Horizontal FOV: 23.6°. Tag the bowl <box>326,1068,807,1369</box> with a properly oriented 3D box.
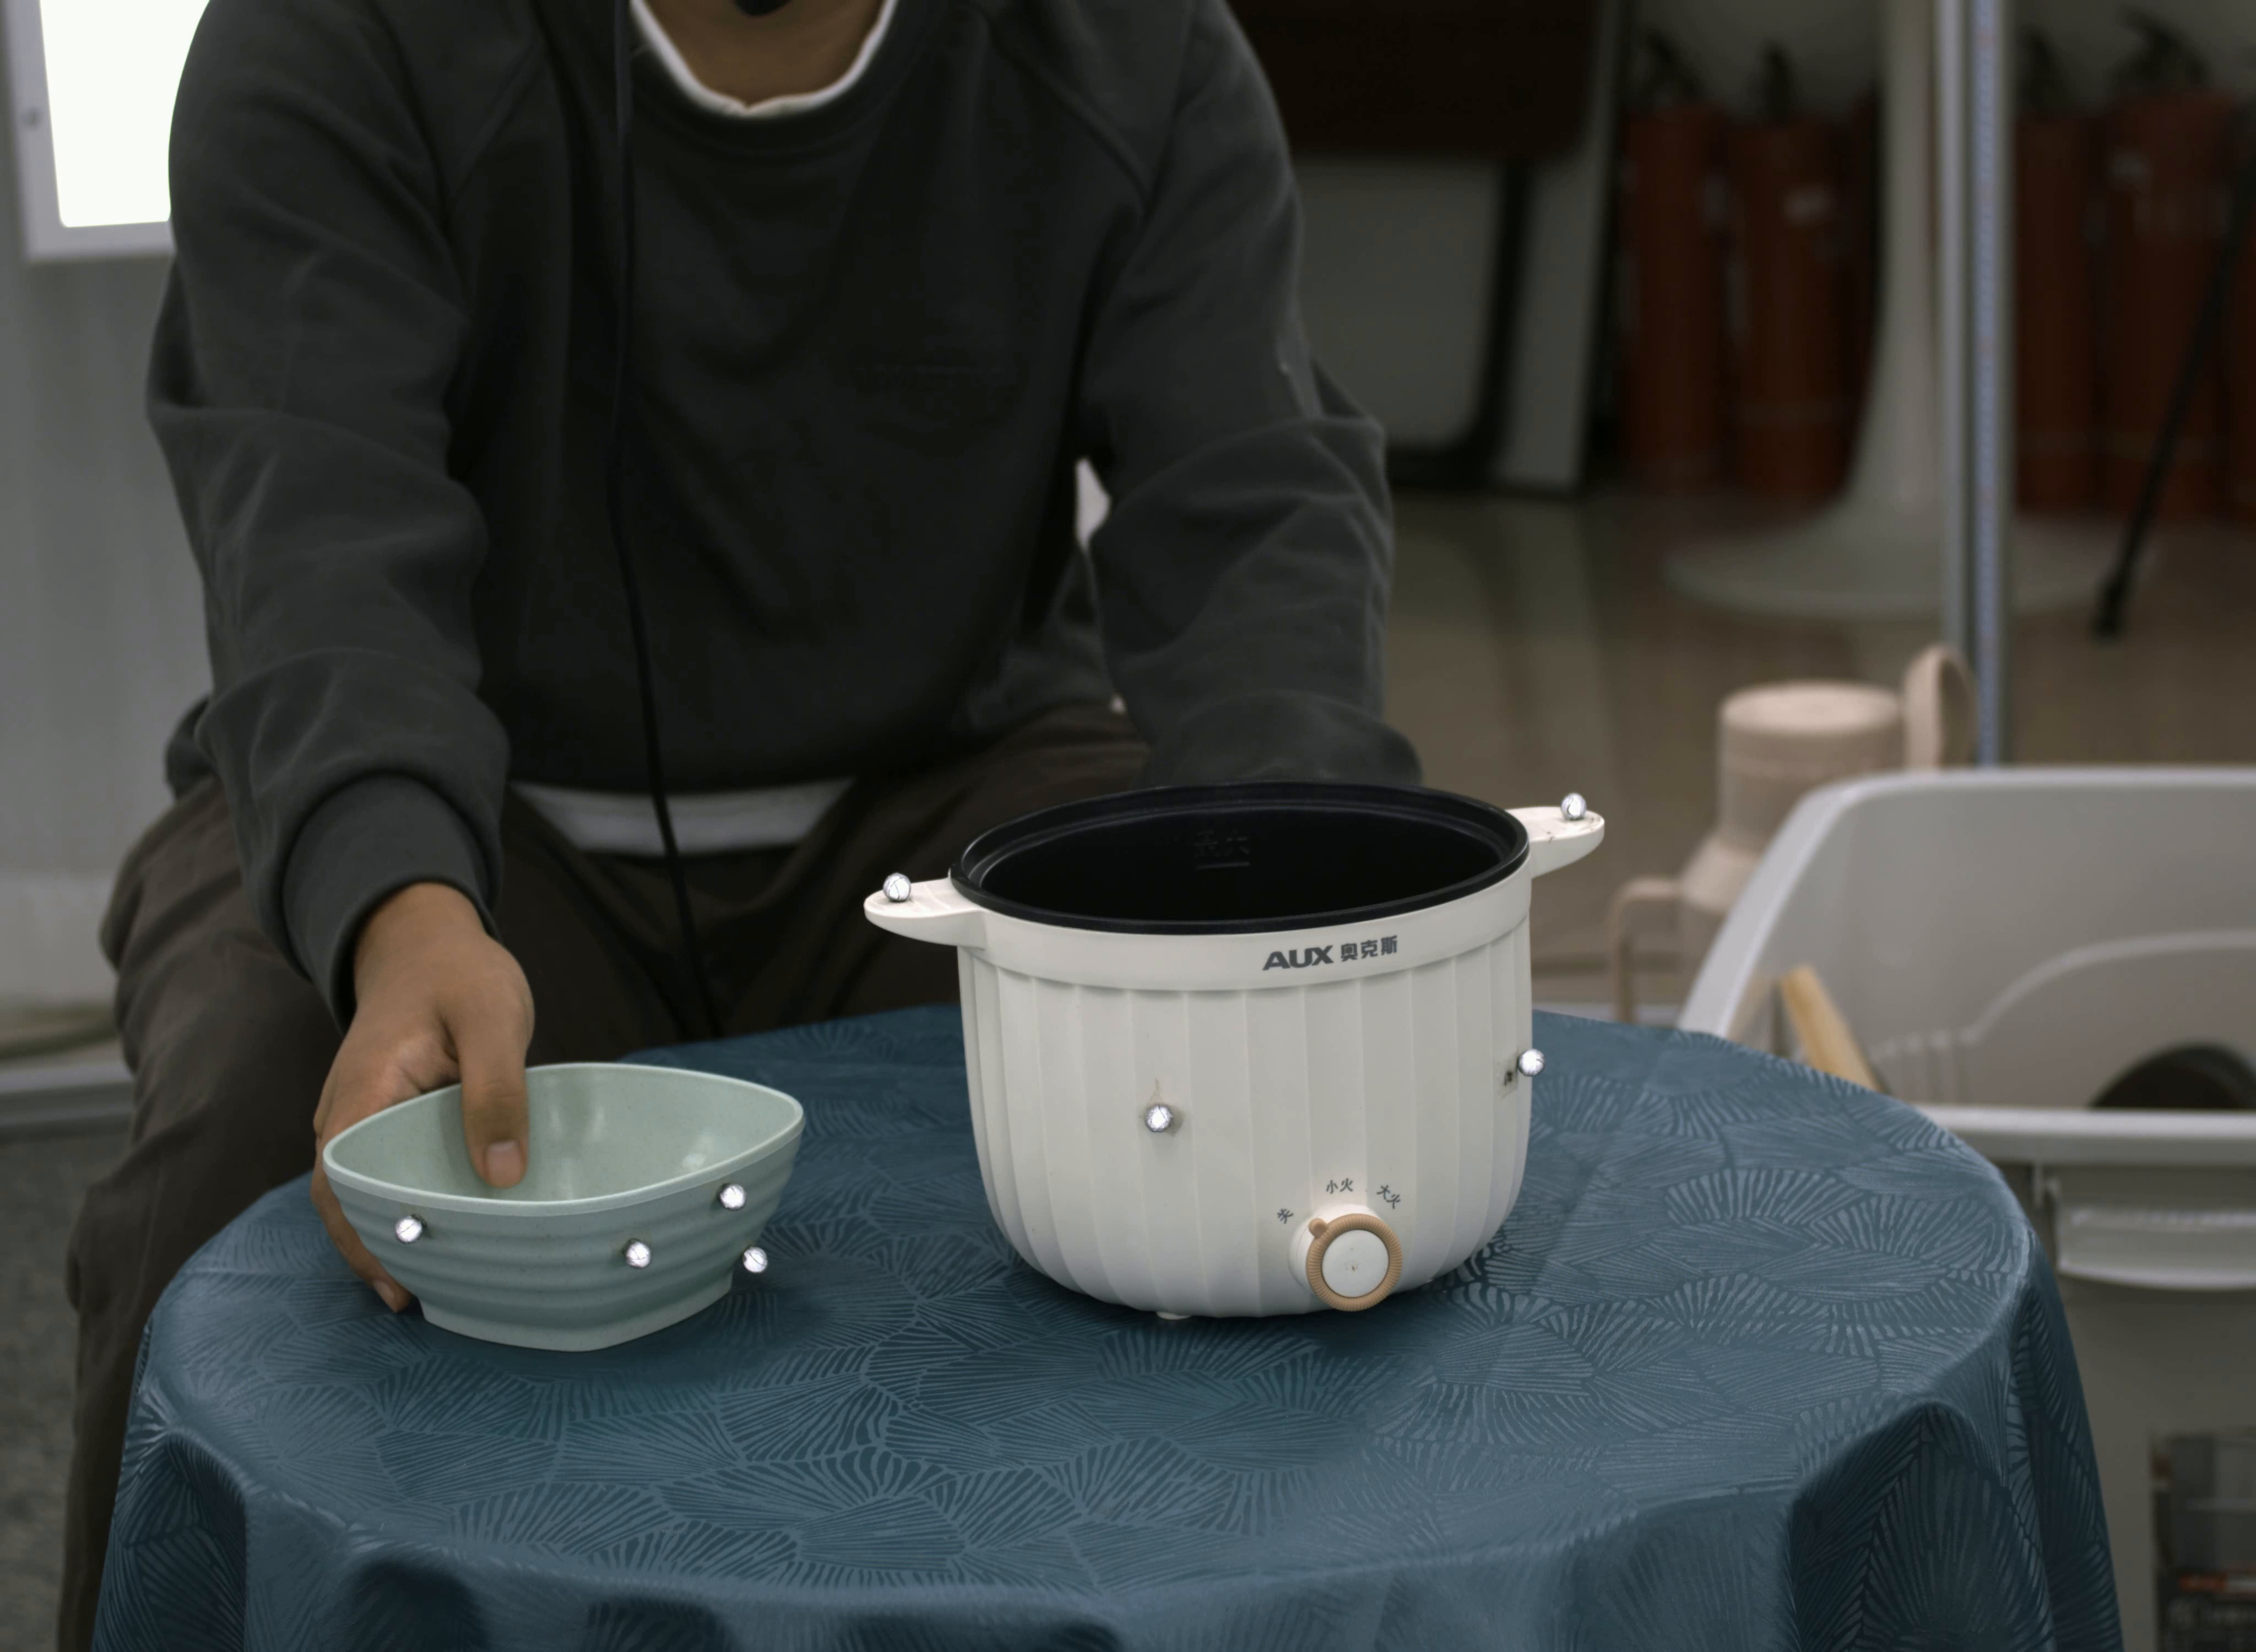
[{"bbox_3d":[-0.173,0.126,1.692,0.149,0.059,0.152,-3,15,0],"label":"bowl"}]

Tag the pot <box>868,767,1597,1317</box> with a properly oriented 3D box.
[{"bbox_3d":[0.042,0.069,1.678,0.236,0.144,0.192,-9,11,-15],"label":"pot"}]
